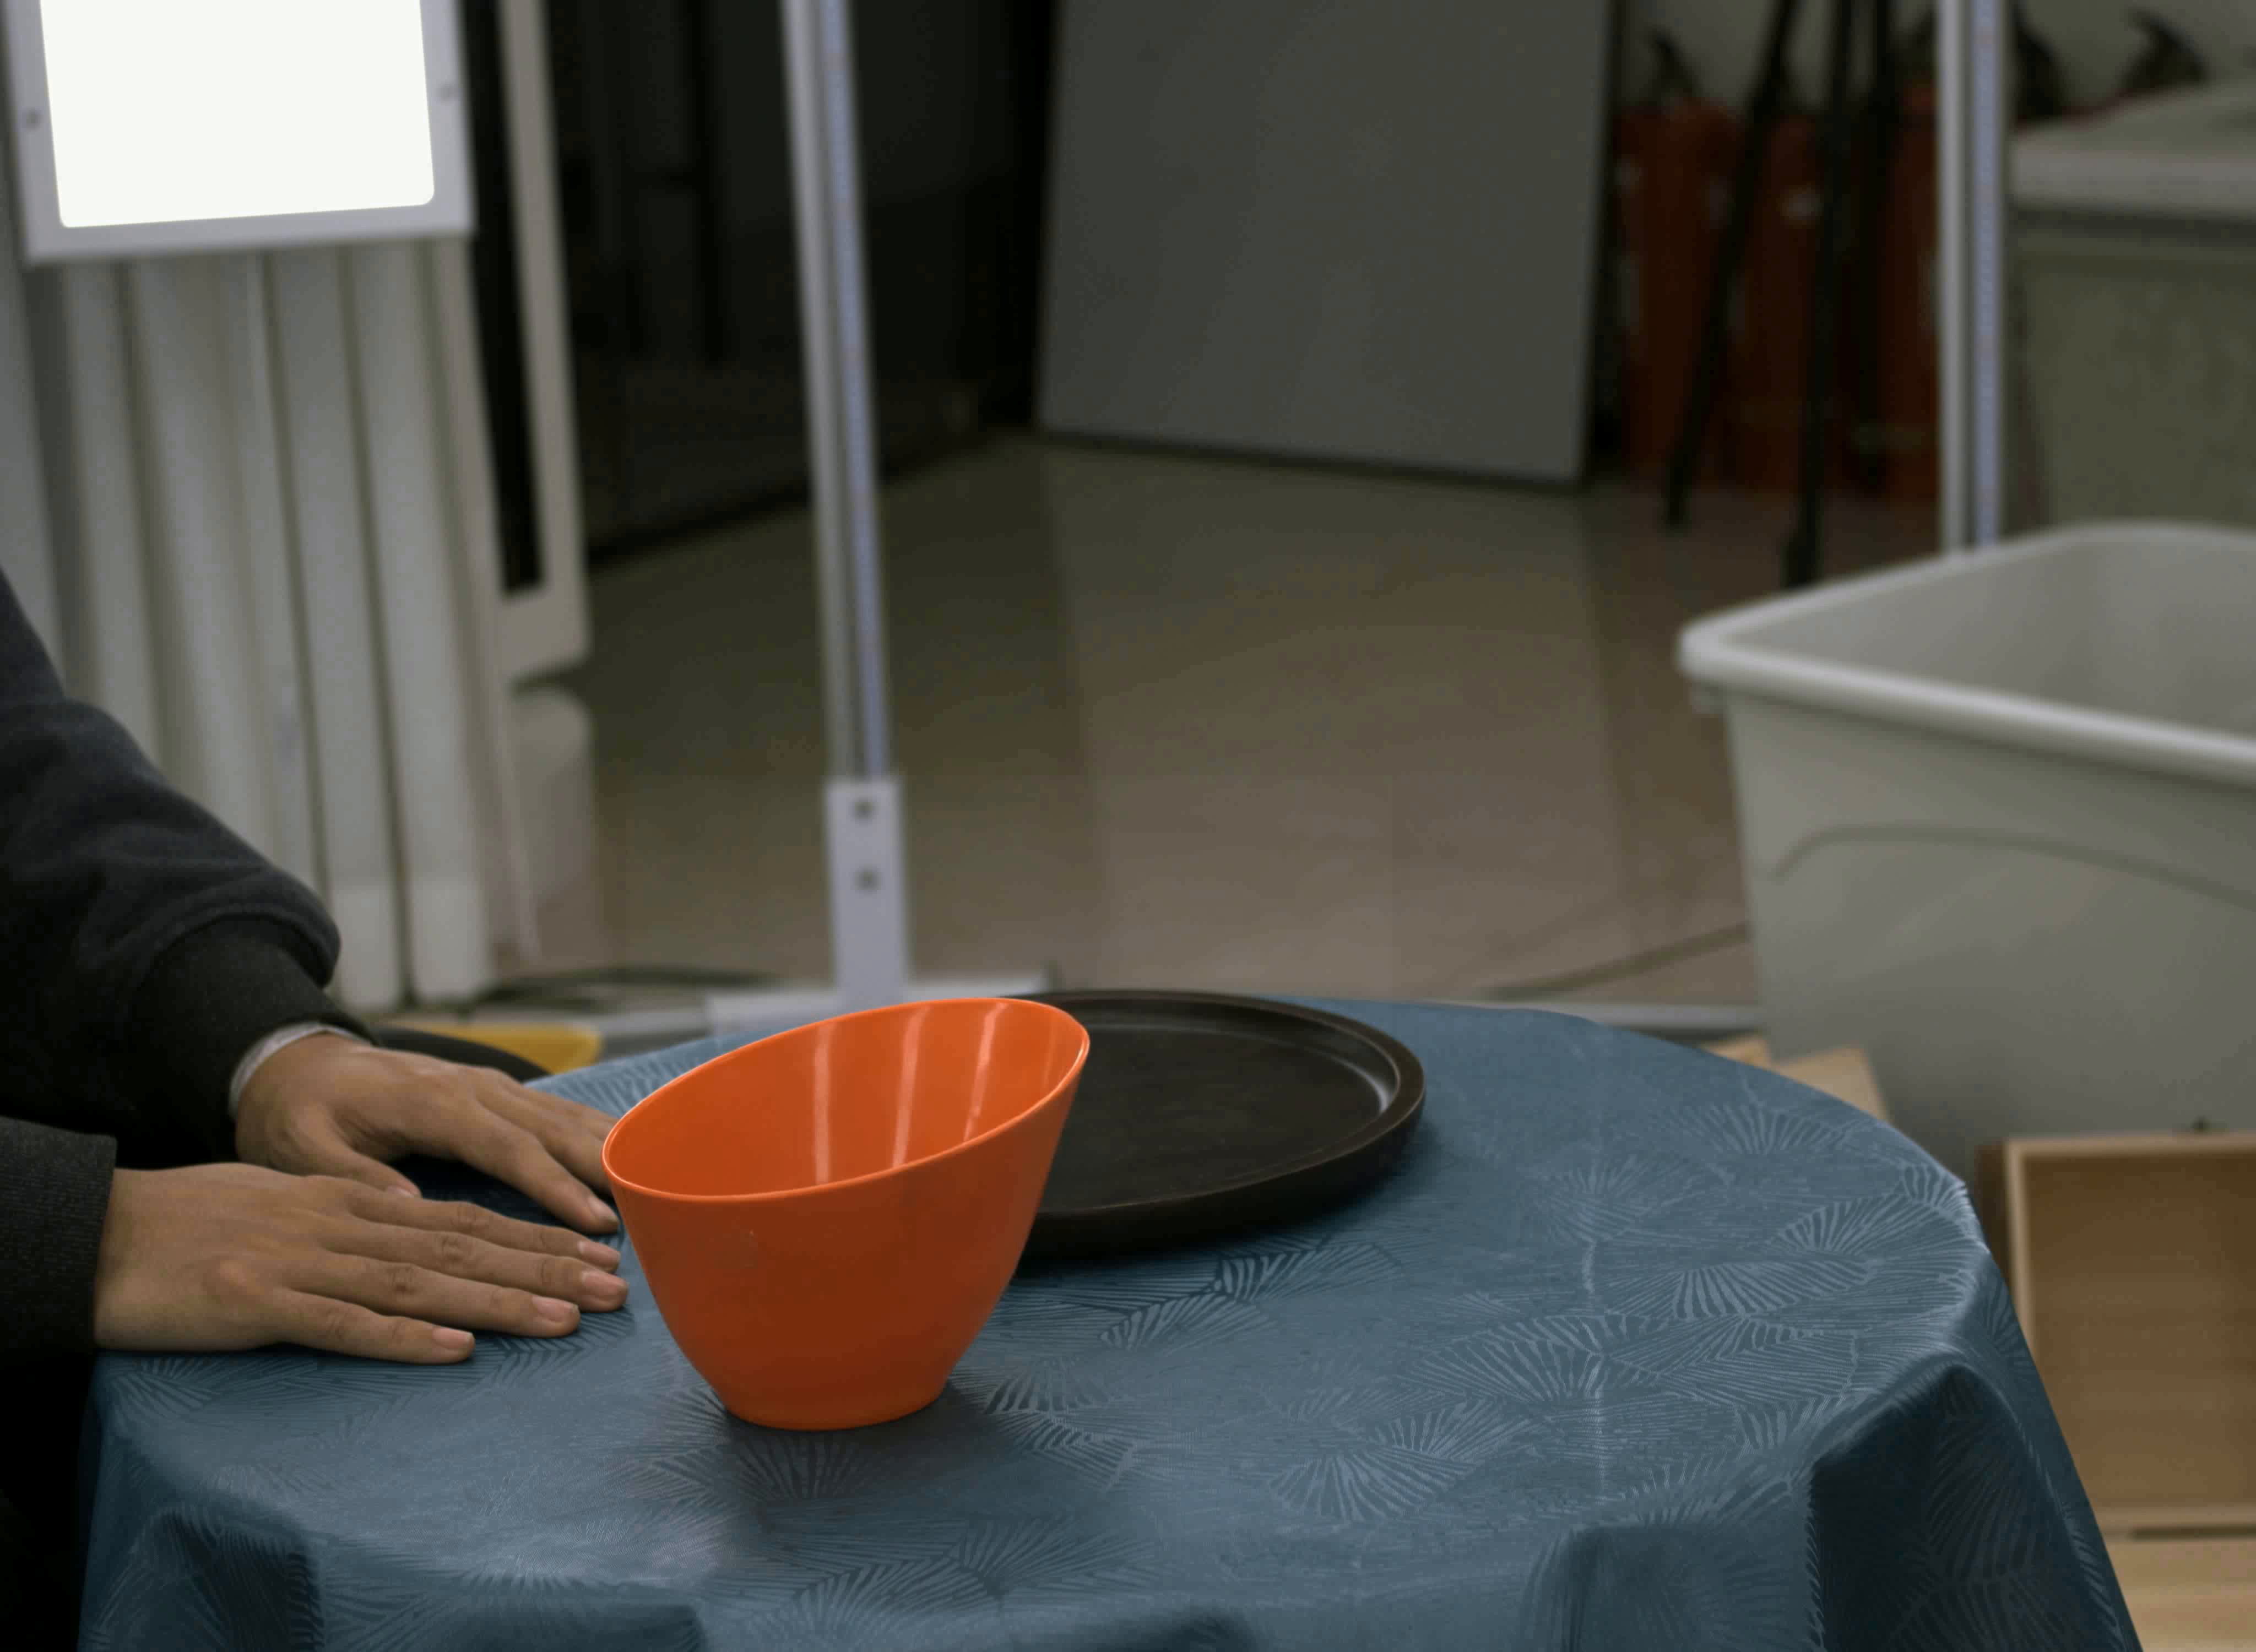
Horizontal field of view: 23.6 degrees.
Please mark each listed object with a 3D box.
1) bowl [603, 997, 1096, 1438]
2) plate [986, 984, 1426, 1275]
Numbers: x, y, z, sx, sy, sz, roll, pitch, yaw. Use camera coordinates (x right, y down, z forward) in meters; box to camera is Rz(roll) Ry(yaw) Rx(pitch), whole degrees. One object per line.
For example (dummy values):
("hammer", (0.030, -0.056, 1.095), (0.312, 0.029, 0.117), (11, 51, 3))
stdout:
("bowl", (-0.079, 0.118, 1.590), (0.146, 0.106, 0.148), (-4, 14, 0))
("plate", (-0.024, 0.102, 1.808), (0.251, 0.029, 0.255), (-4, 15, 0))
